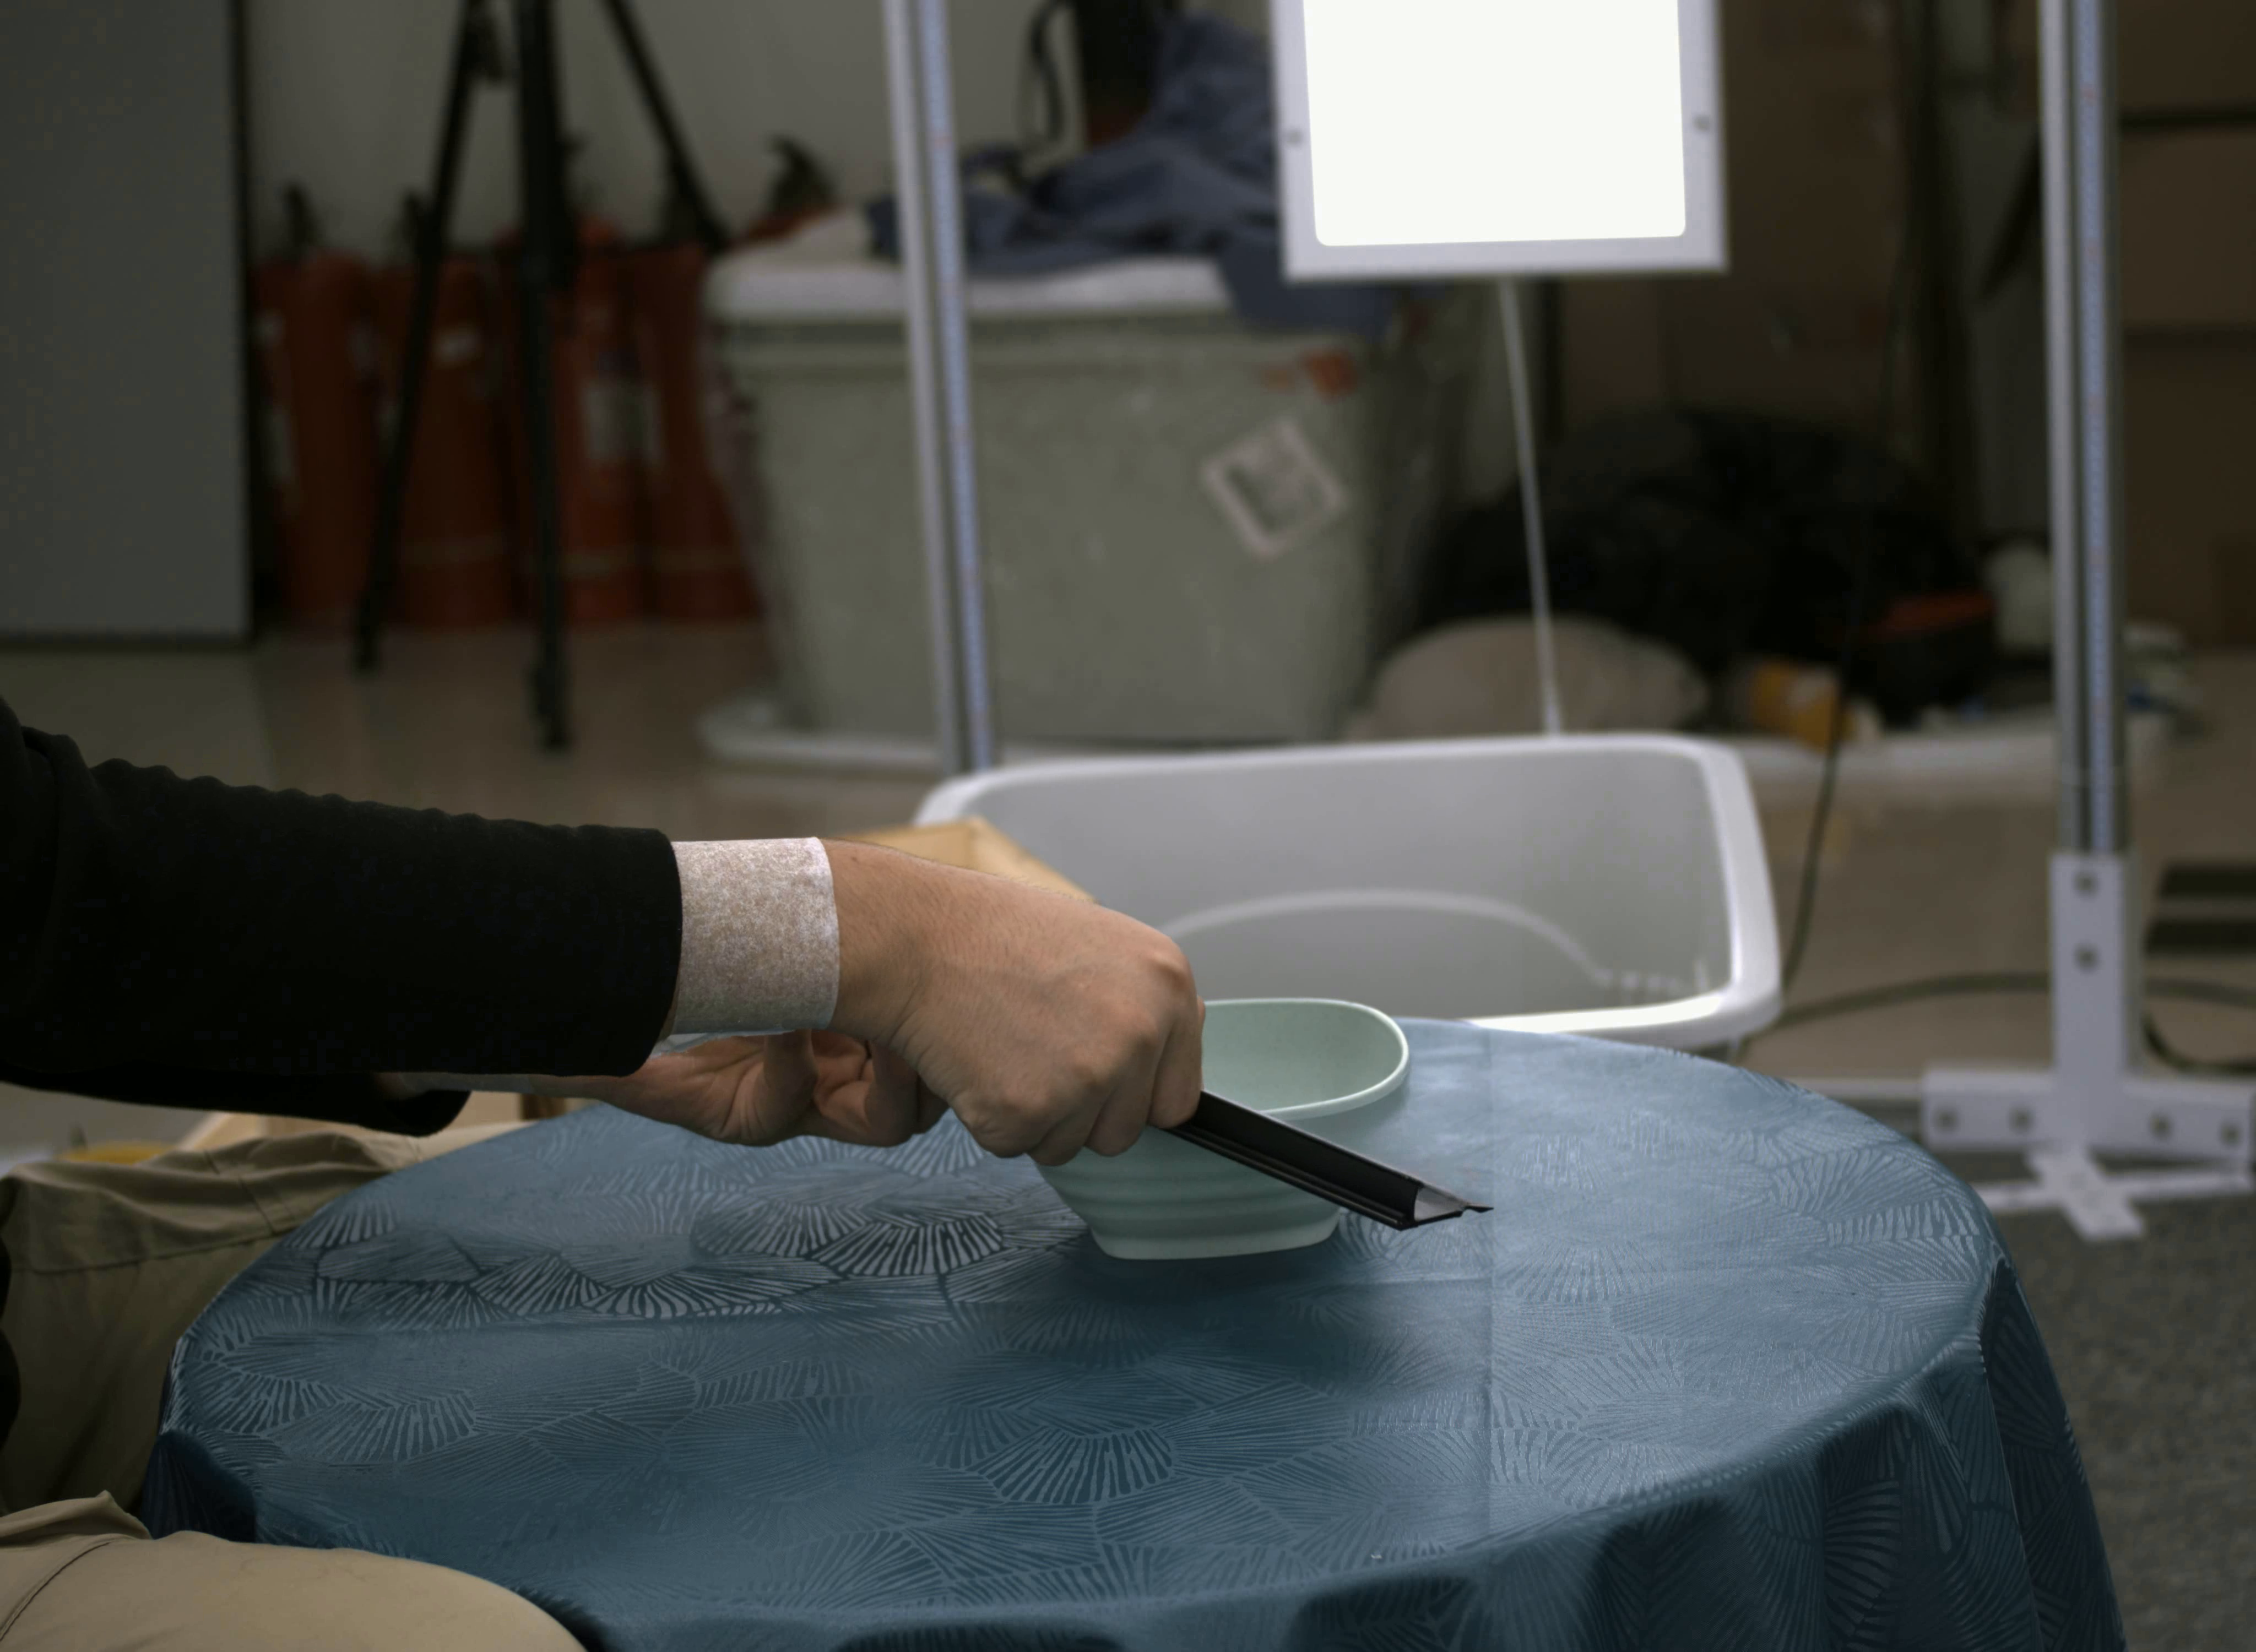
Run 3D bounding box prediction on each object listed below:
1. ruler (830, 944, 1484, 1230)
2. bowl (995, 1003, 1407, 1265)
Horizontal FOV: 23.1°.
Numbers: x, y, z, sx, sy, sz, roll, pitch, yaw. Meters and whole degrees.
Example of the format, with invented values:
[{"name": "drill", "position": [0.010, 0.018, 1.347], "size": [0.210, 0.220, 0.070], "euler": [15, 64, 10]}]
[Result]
[{"name": "ruler", "position": [0.005, 0.080, 1.799], "size": [0.038, 0.017, 0.318], "euler": [-6, 16, -36]}, {"name": "bowl", "position": [0.026, 0.107, 1.855], "size": [0.151, 0.059, 0.151], "euler": [-4, 15, 0]}]
